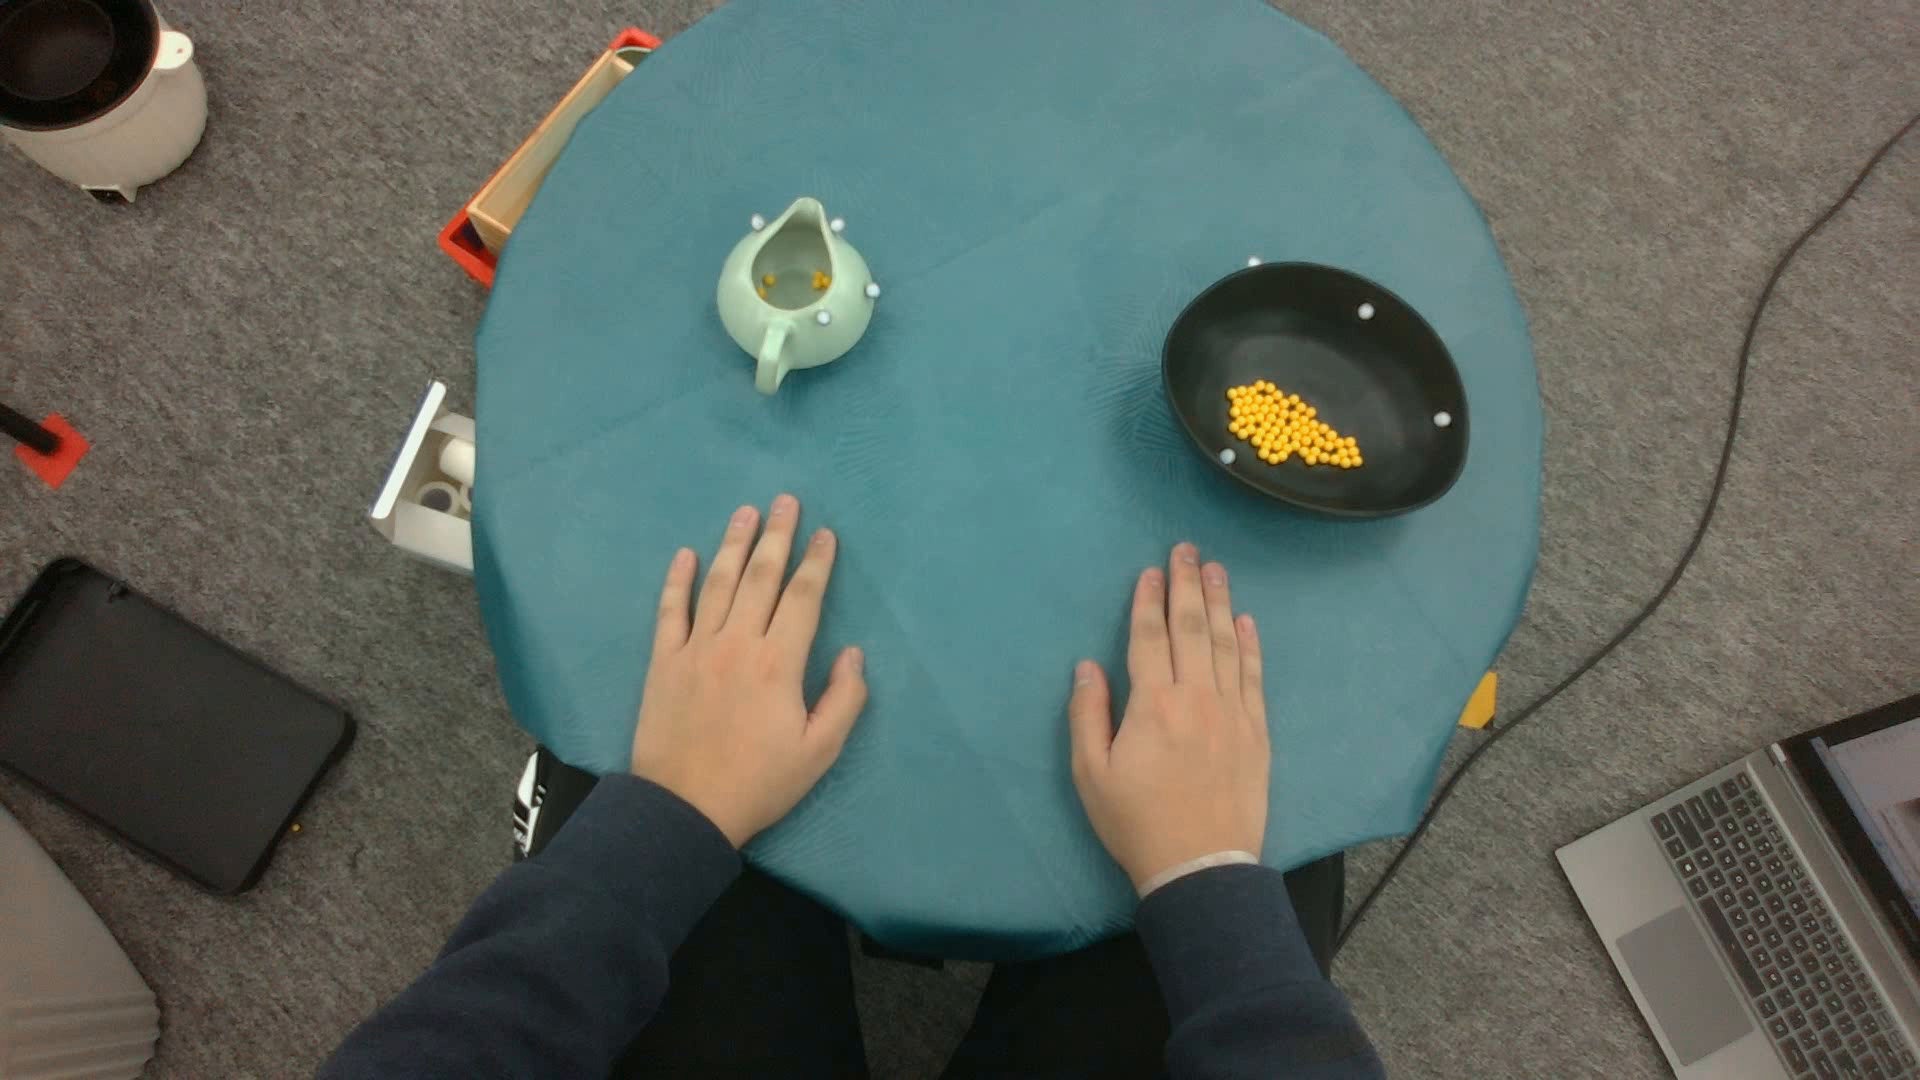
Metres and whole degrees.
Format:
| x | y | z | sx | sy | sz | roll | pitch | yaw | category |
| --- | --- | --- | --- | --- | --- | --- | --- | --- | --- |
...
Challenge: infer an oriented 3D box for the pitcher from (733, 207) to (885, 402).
| x | y | z | sx | sy | sz | roll | pitch | yaw | category |
| --- | --- | --- | --- | --- | --- | --- | --- | --- | --- |
| -0.087 | -0.126 | 0.767 | 0.086 | 0.060 | 0.108 | 9 | 75 | 2 | pitcher |

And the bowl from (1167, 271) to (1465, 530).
| x | y | z | sx | sy | sz | roll | pitch | yaw | category |
| --- | --- | --- | --- | --- | --- | --- | --- | --- | --- |
| 0.192 | -0.069 | 0.758 | 0.170 | 0.066 | 0.138 | 24 | 75 | 4 | bowl |
